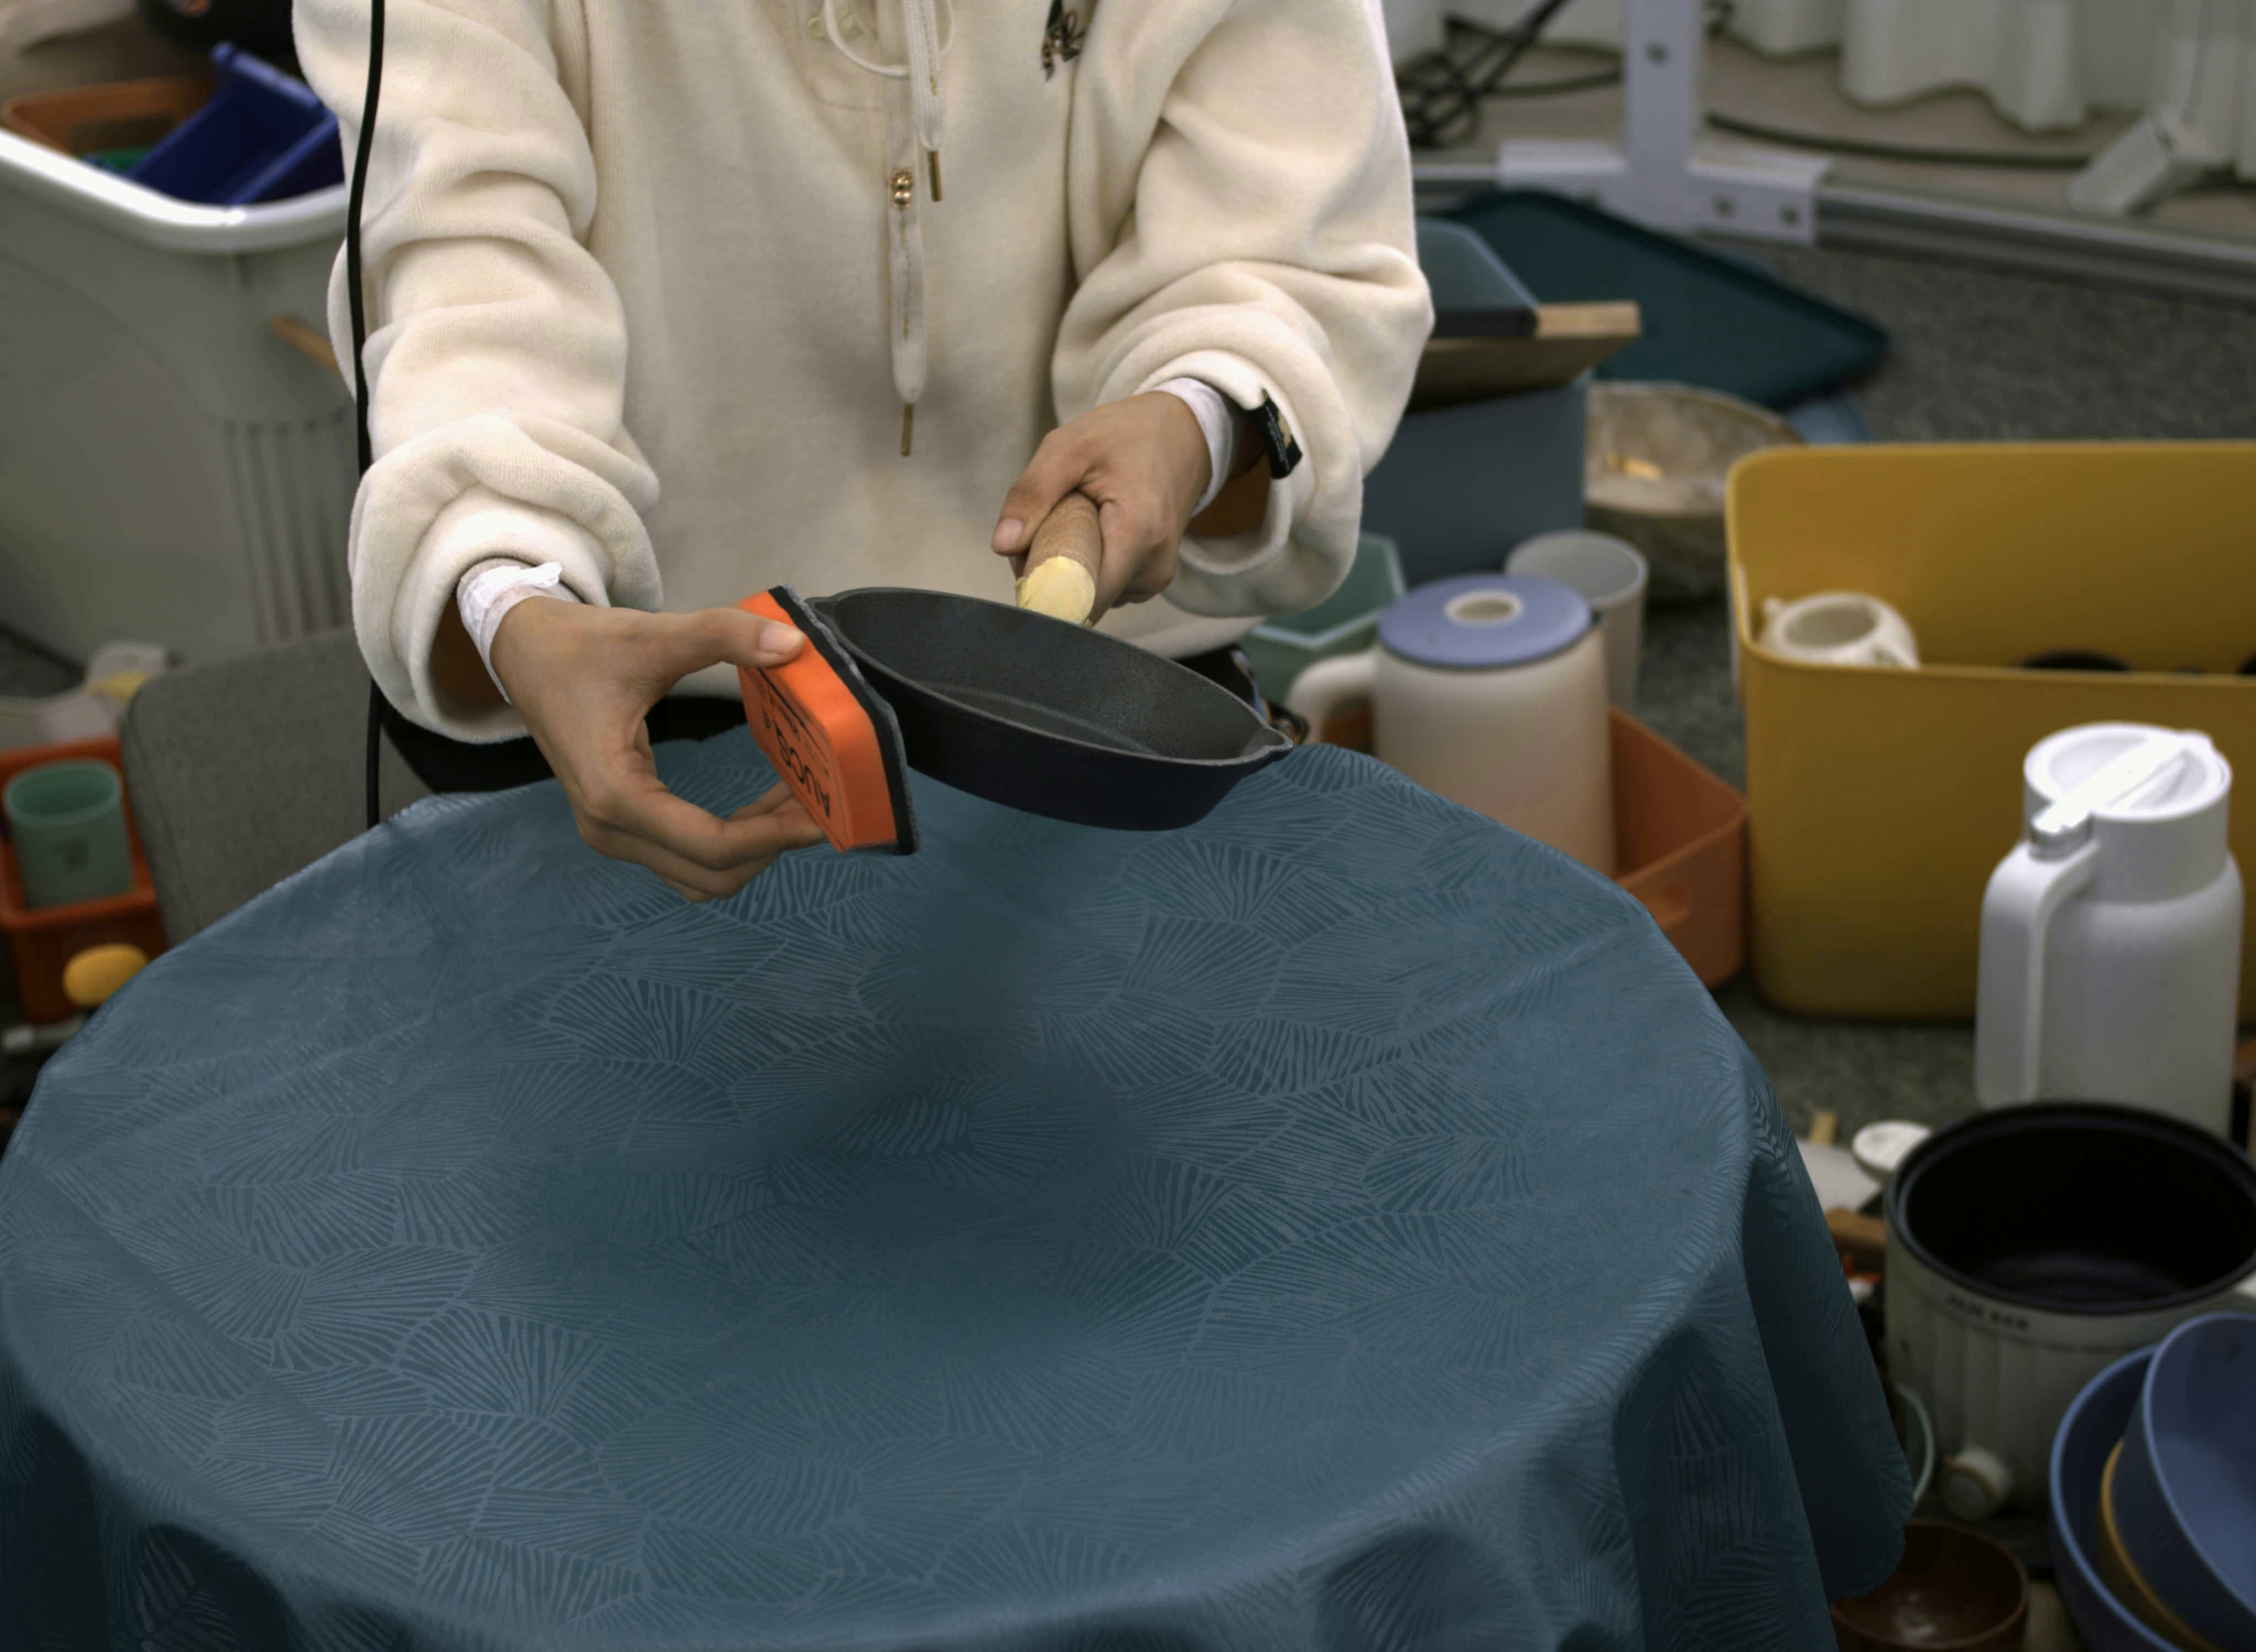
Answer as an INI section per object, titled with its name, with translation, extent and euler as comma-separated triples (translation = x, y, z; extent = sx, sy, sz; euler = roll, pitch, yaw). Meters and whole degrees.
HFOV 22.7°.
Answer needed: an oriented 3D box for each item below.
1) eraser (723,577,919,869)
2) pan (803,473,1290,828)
[eraser]
translation = -0.101, -0.034, 1.837
extent = 0.023, 0.058, 0.109
euler = -20, 34, -14
[pan]
translation = -0.025, -0.067, 1.950
extent = 0.168, 0.049, 0.327
euler = 17, 16, -2
